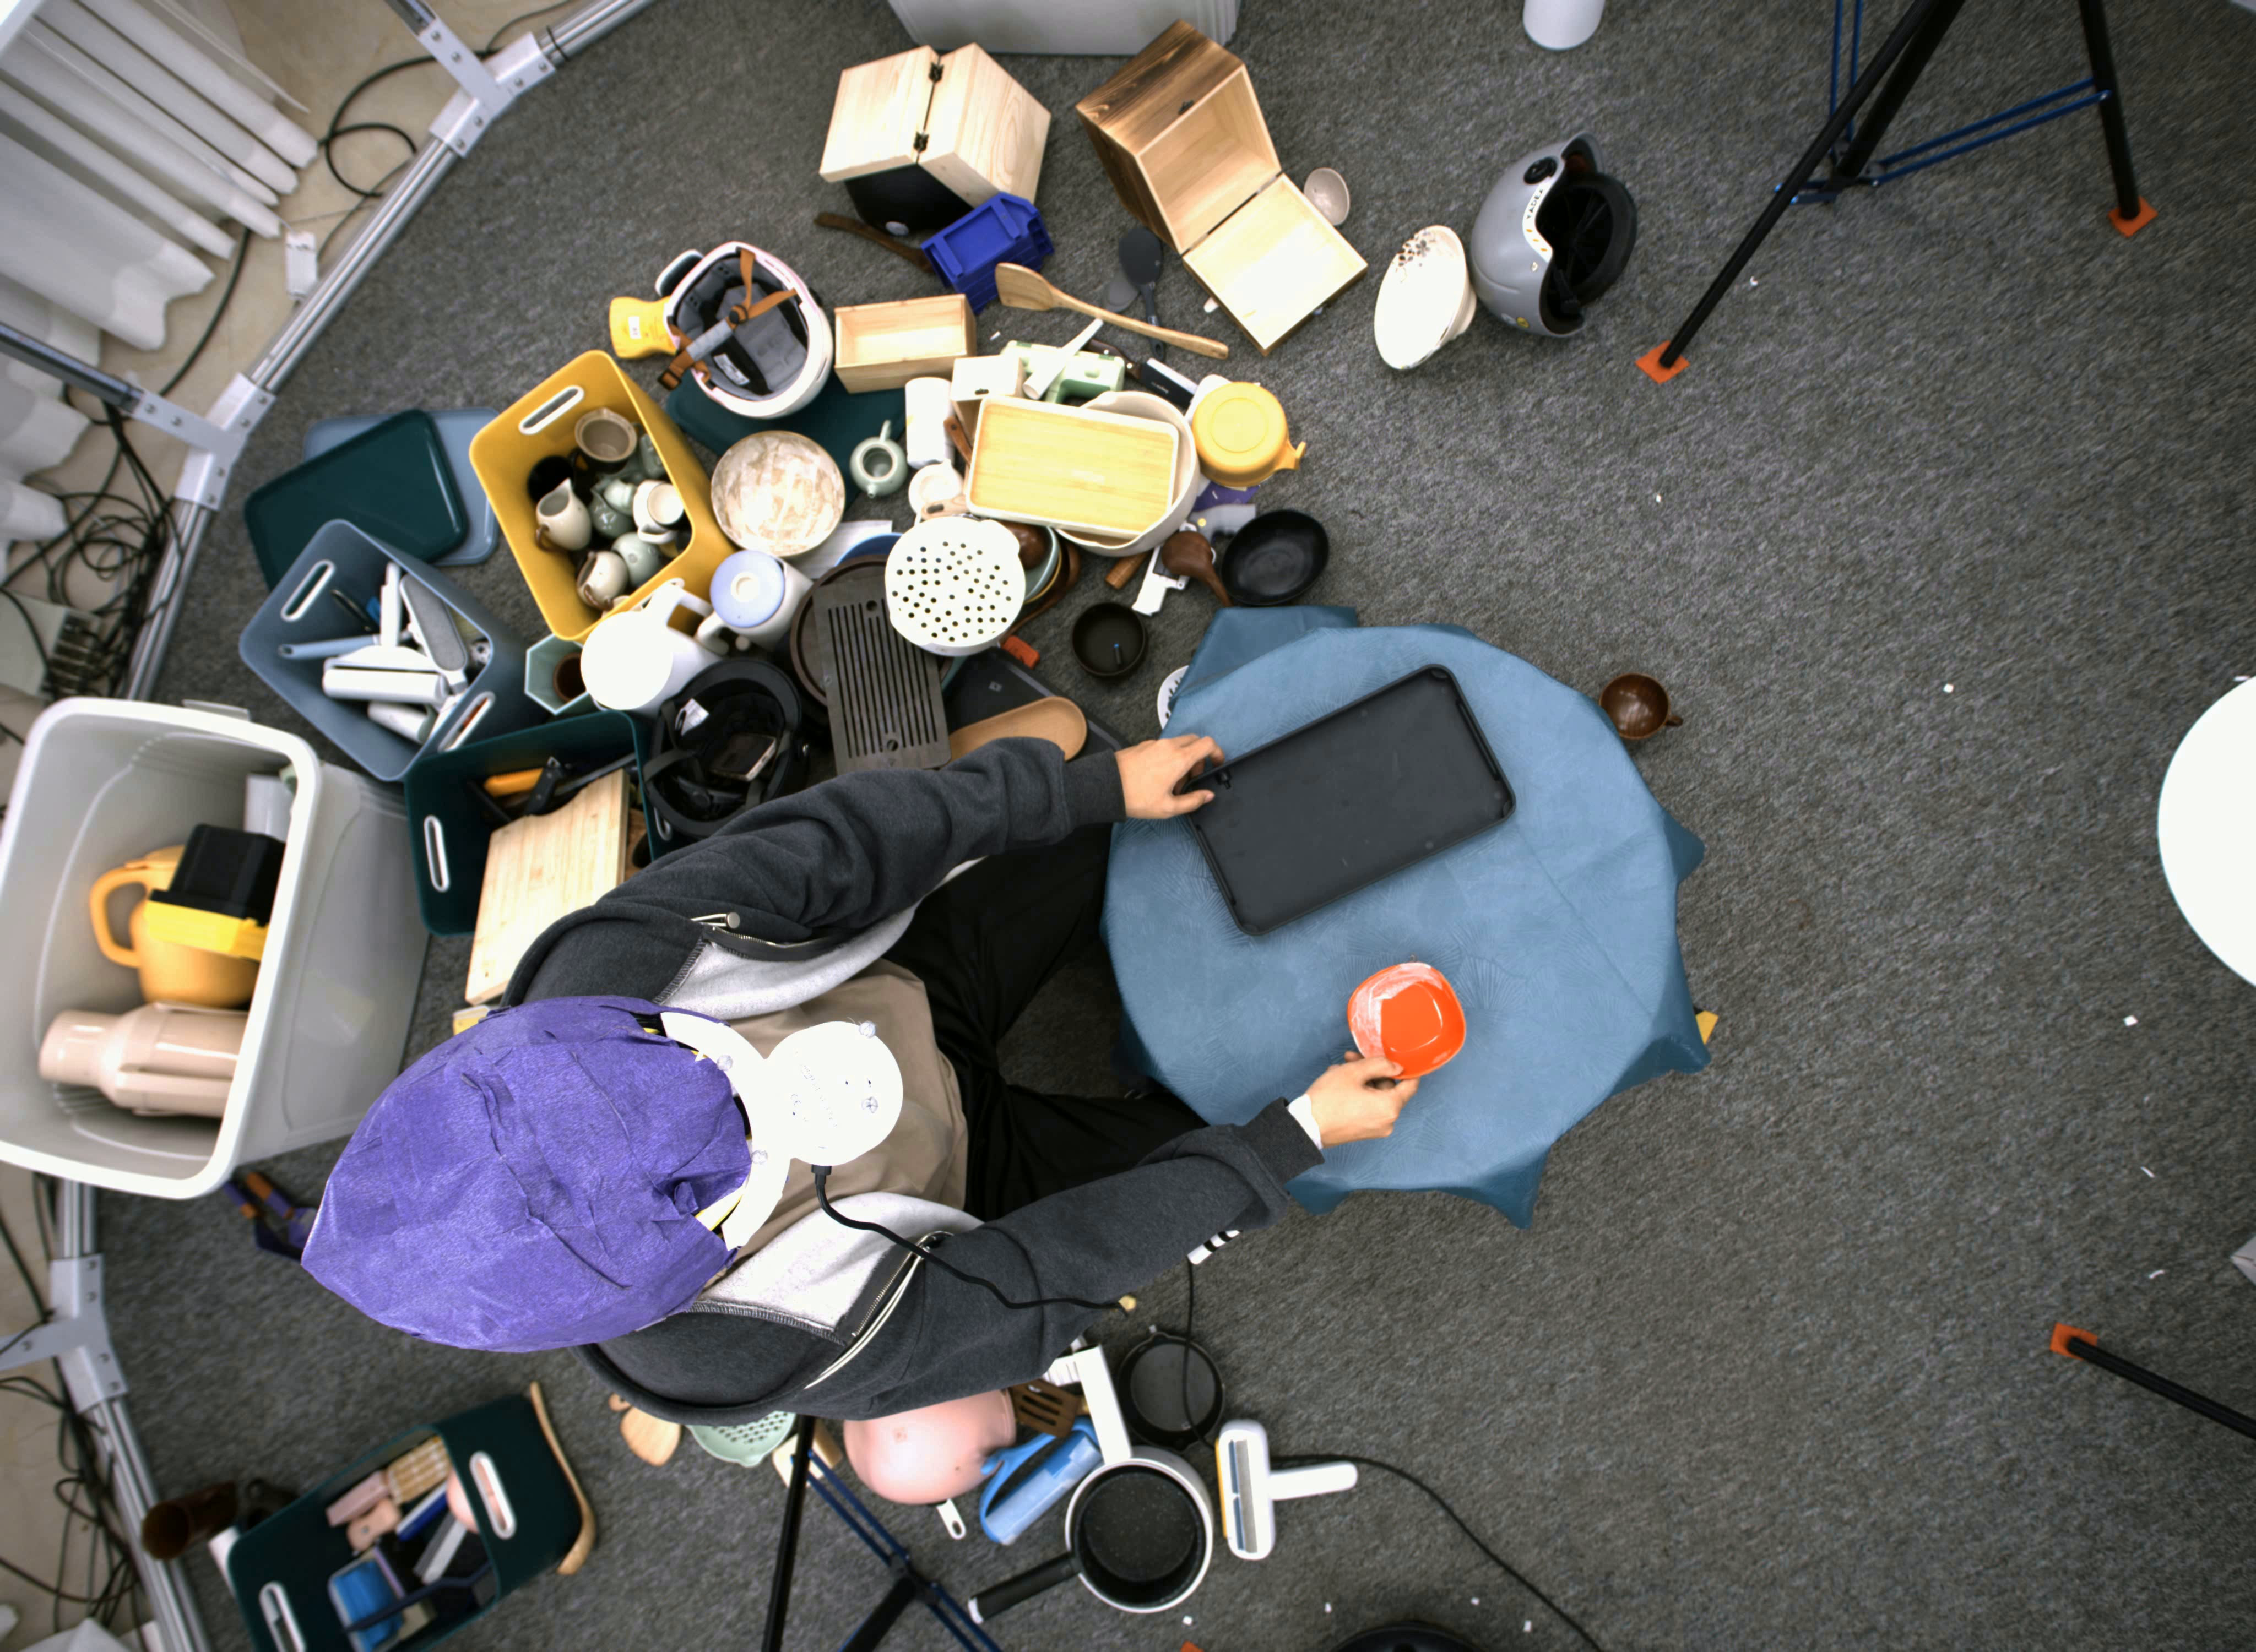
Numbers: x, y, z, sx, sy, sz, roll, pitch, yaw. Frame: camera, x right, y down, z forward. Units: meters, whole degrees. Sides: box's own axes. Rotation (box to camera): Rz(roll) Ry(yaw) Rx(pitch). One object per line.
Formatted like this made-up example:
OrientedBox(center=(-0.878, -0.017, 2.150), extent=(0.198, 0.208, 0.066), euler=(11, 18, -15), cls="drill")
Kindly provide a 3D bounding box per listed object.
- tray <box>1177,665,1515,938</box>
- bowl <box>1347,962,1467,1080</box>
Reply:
OrientedBox(center=(0.227, -0.026, 1.452), extent=(0.319, 0.037, 0.183), euler=(-26, 82, 7), cls="tray")
OrientedBox(center=(0.280, 0.193, 1.389), extent=(0.119, 0.051, 0.118), euler=(0, 89, 13), cls="bowl")
